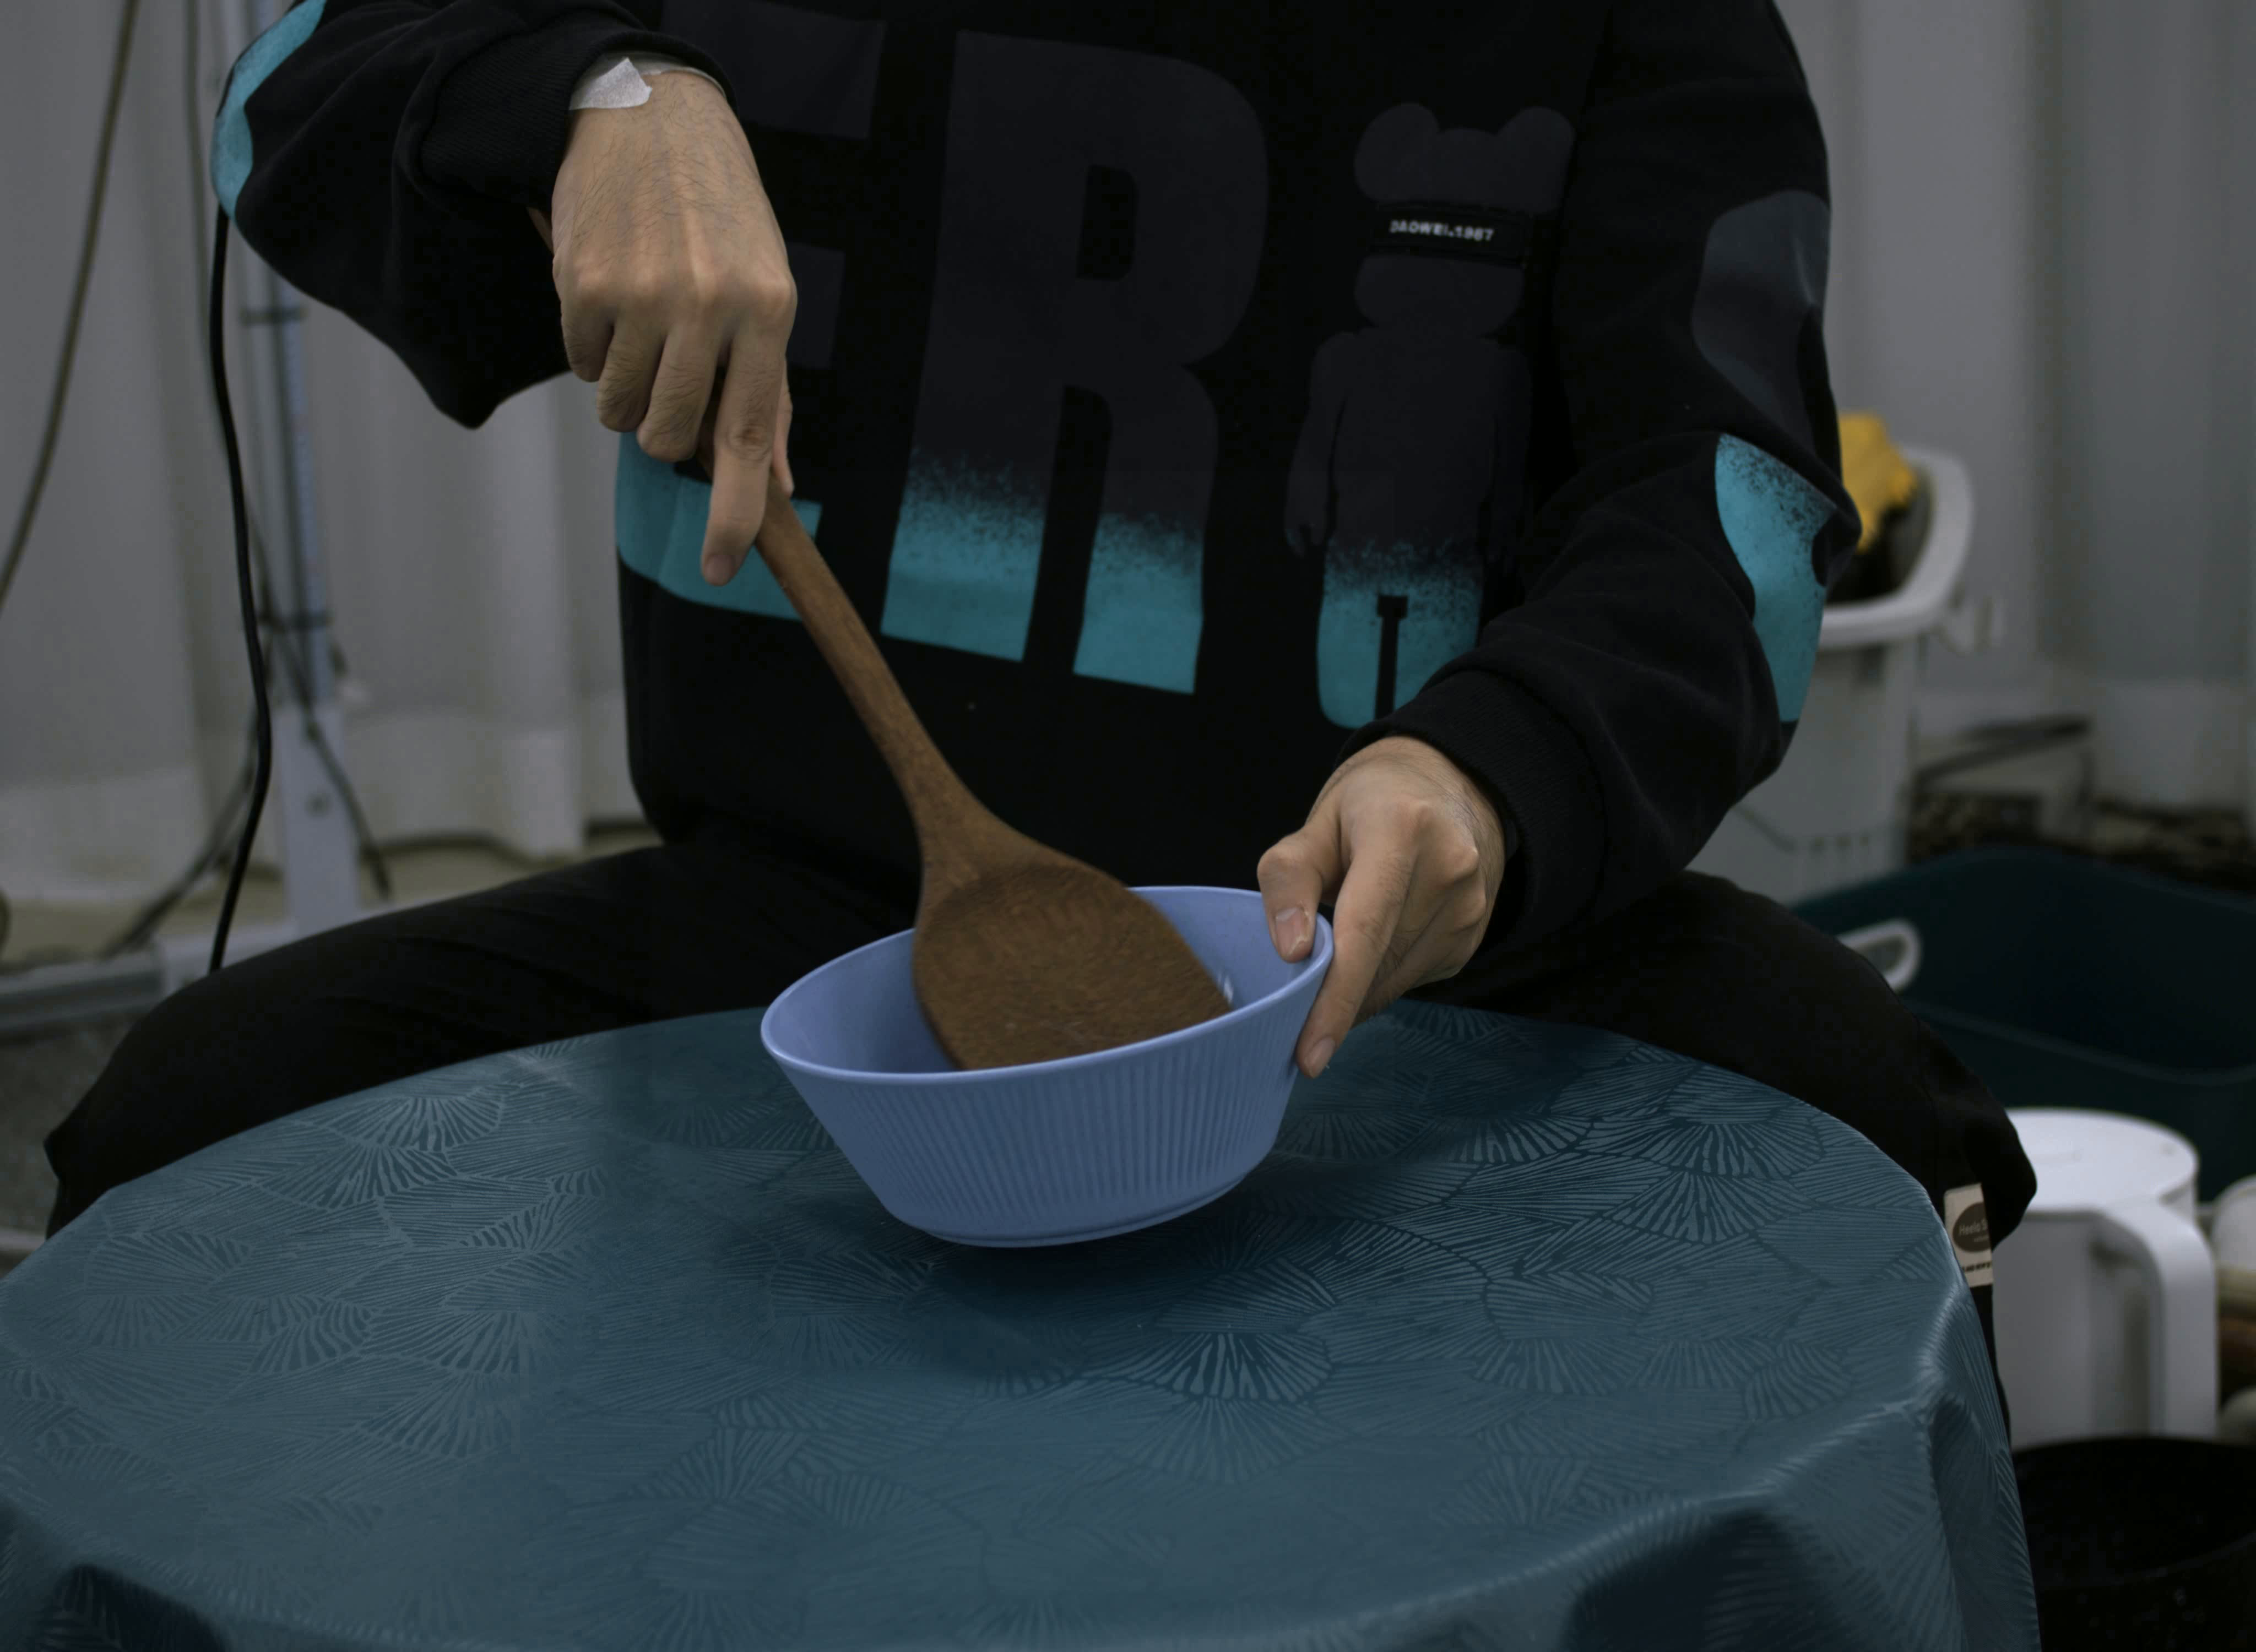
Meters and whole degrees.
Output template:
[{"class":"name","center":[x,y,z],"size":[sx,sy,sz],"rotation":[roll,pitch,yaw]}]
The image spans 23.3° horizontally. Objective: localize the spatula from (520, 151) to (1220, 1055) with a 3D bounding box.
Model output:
[{"class":"spatula","center":[-0.097,-0.067,1.738],"size":[0.096,0.390,0.015],"rotation":[-20,-22,-30]}]

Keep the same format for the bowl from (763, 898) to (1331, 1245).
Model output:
[{"class":"bowl","center":[-0.020,0.078,1.664],"size":[0.175,0.070,0.177],"rotation":[-8,14,2]}]
